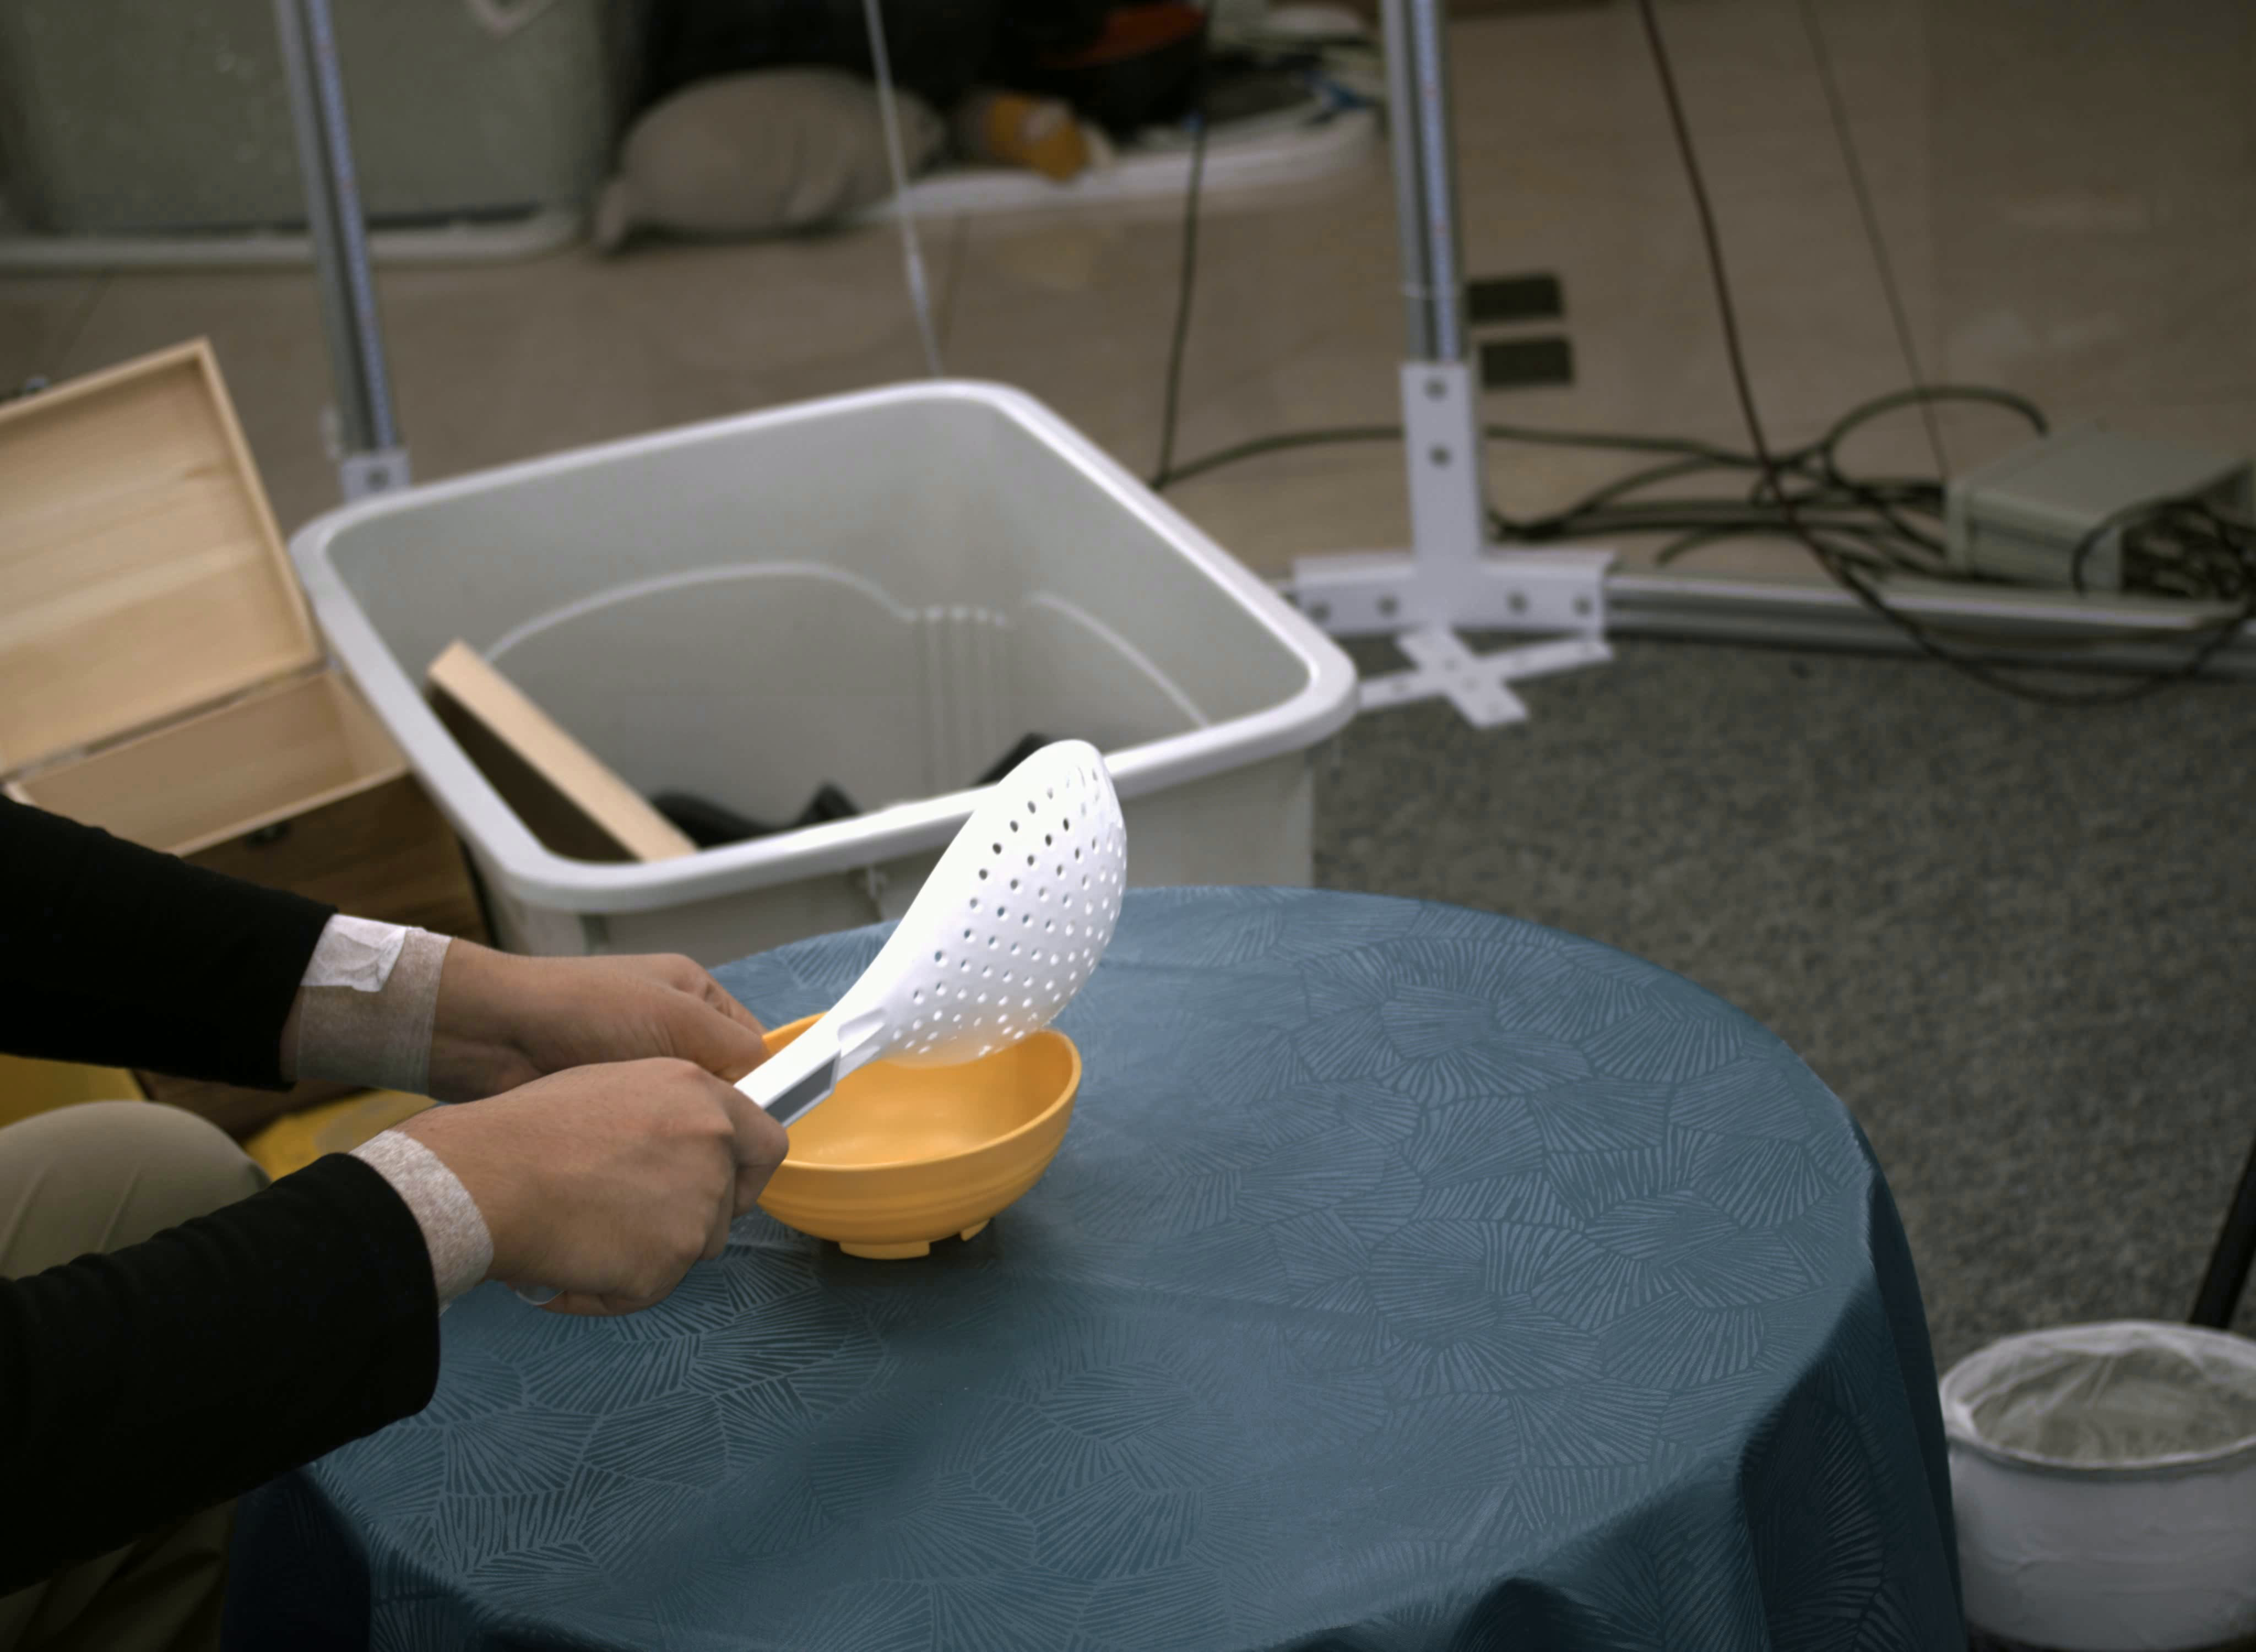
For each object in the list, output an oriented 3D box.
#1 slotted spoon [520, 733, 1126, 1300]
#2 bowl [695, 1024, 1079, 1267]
[{"bbox_3d":[-0.102,0.076,2.035,0.045,0.138,0.346,32,42,27],"label":"slotted spoon"},{"bbox_3d":[-0.088,0.125,2.134,0.145,0.061,0.143,-5,21,2],"label":"bowl"}]
